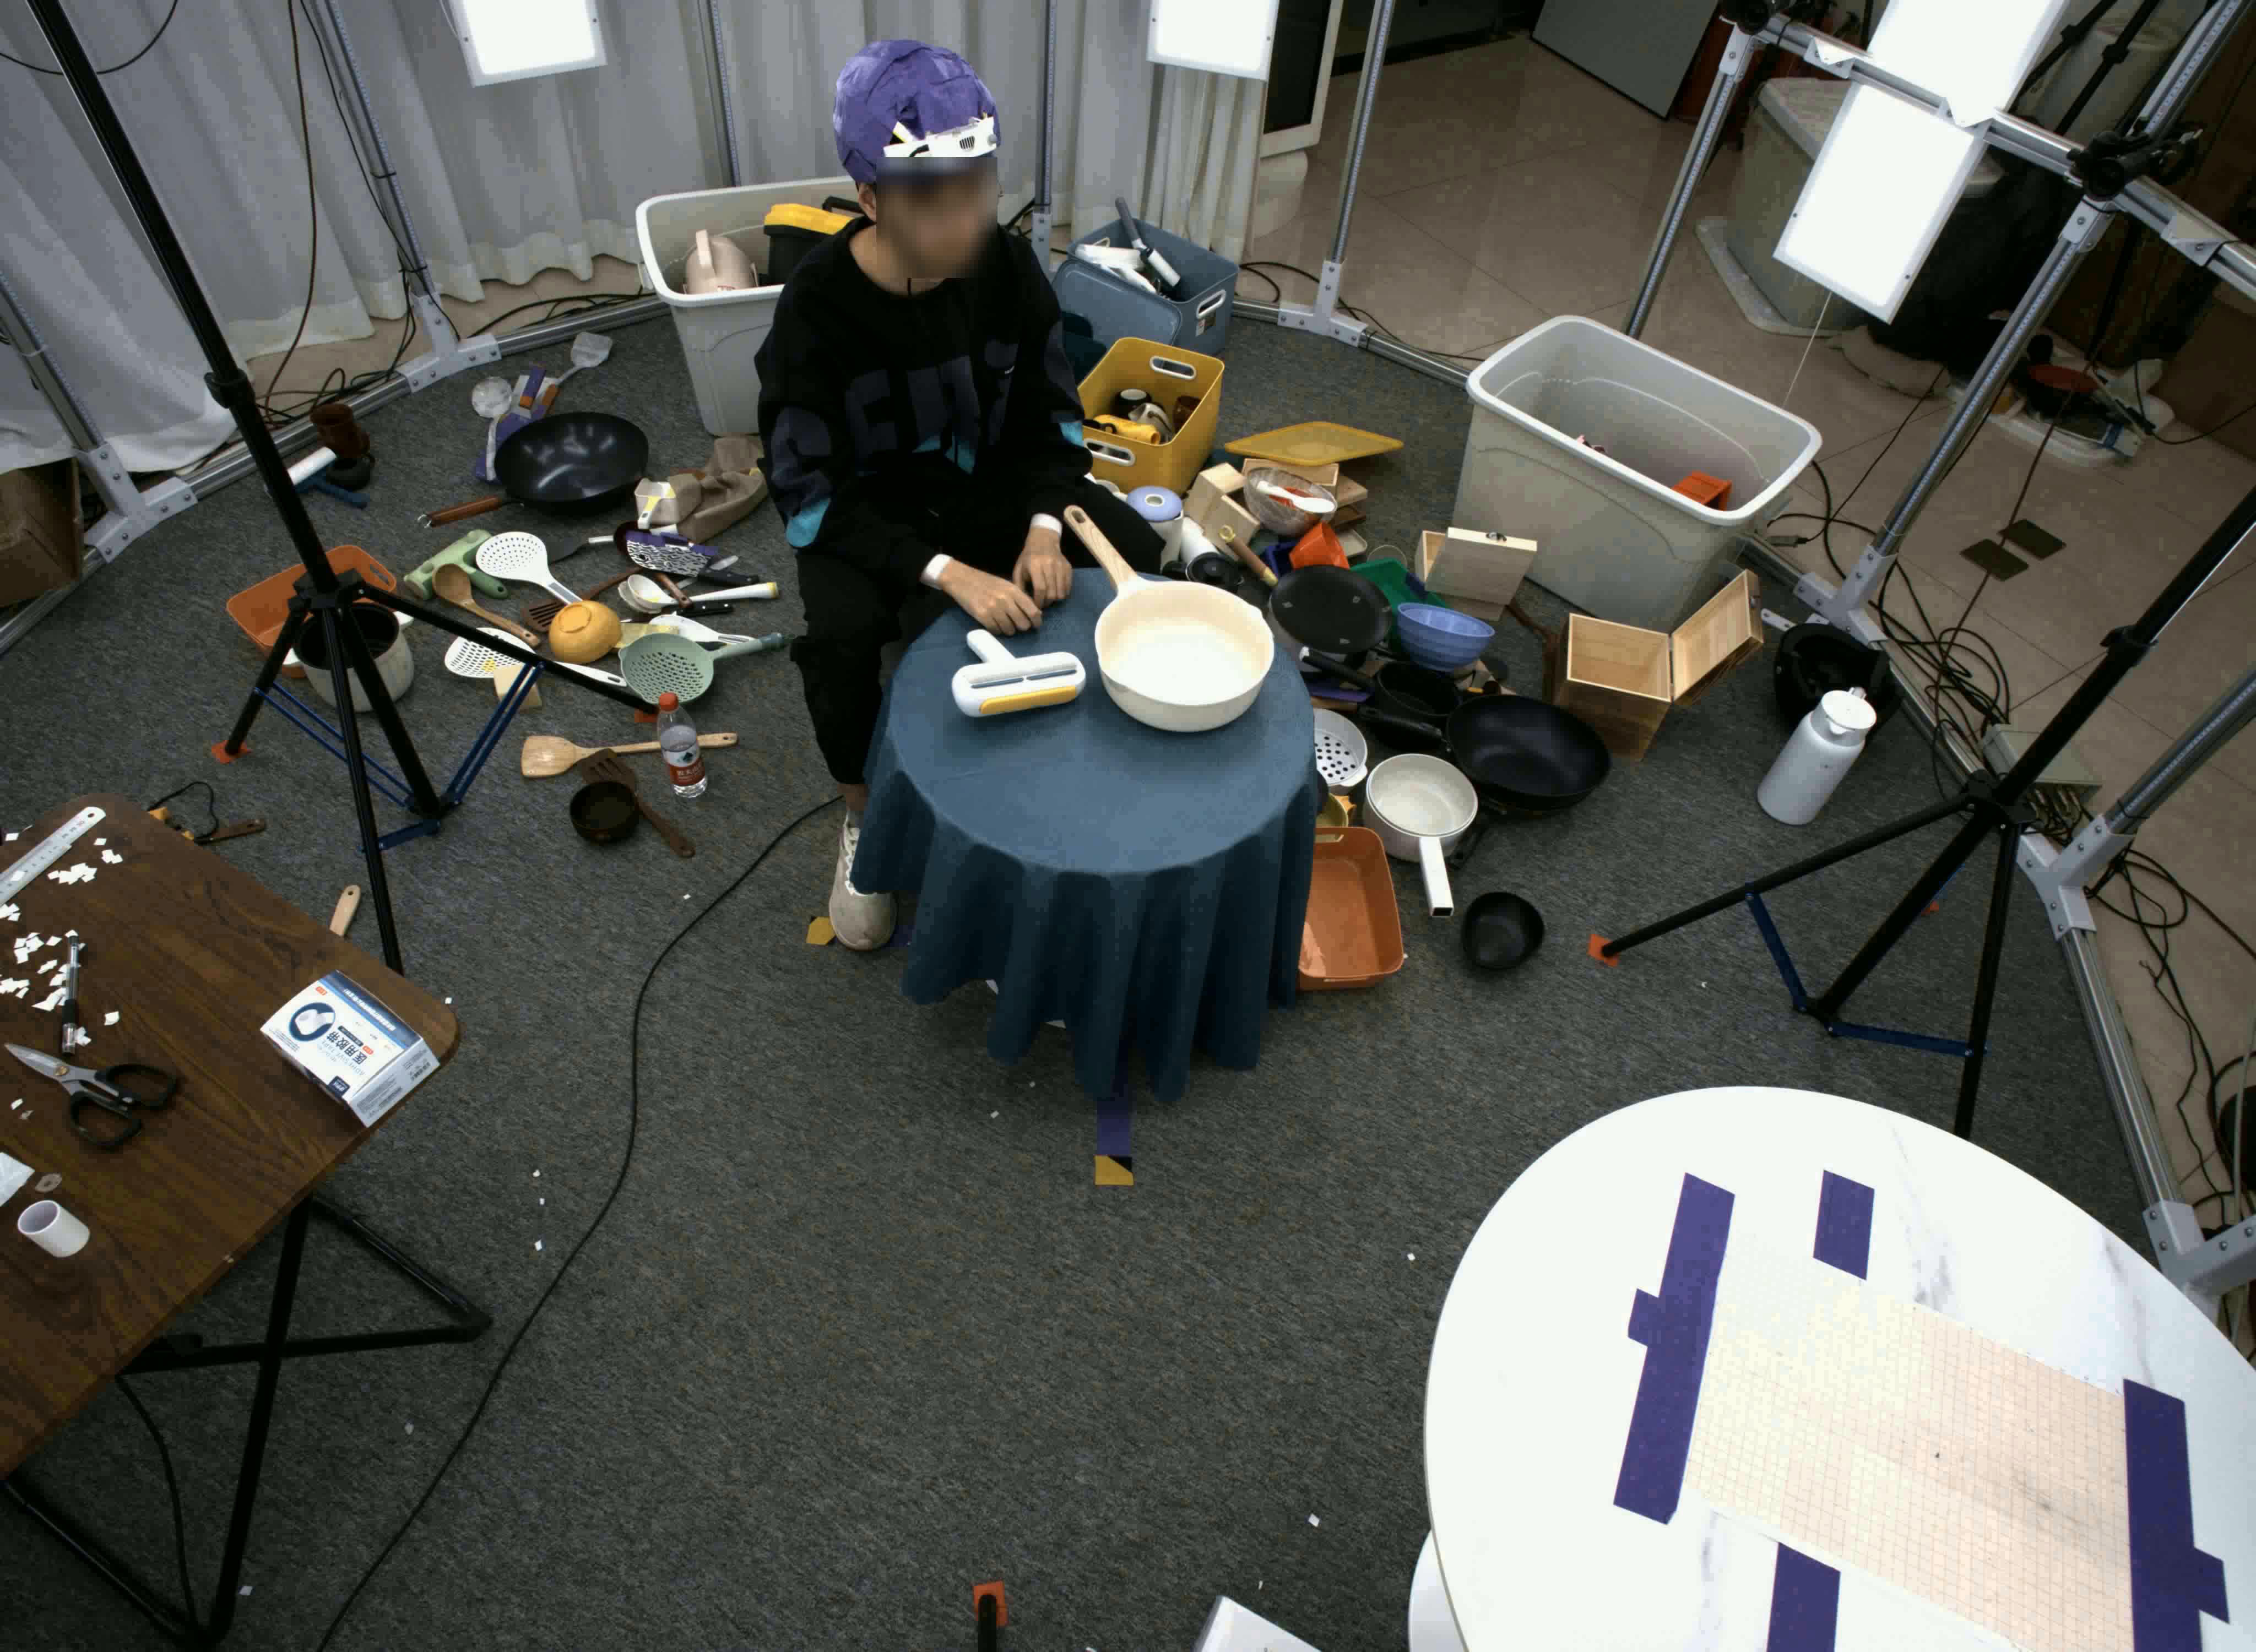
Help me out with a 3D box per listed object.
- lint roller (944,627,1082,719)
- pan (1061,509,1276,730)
[{"bbox_3d":[-0.180,-0.231,1.813,0.193,0.072,0.197,-12,50,-20],"label":"lint roller"},{"bbox_3d":[0.030,-0.304,1.869,0.264,0.099,0.443,-26,56,-21],"label":"pan"}]
